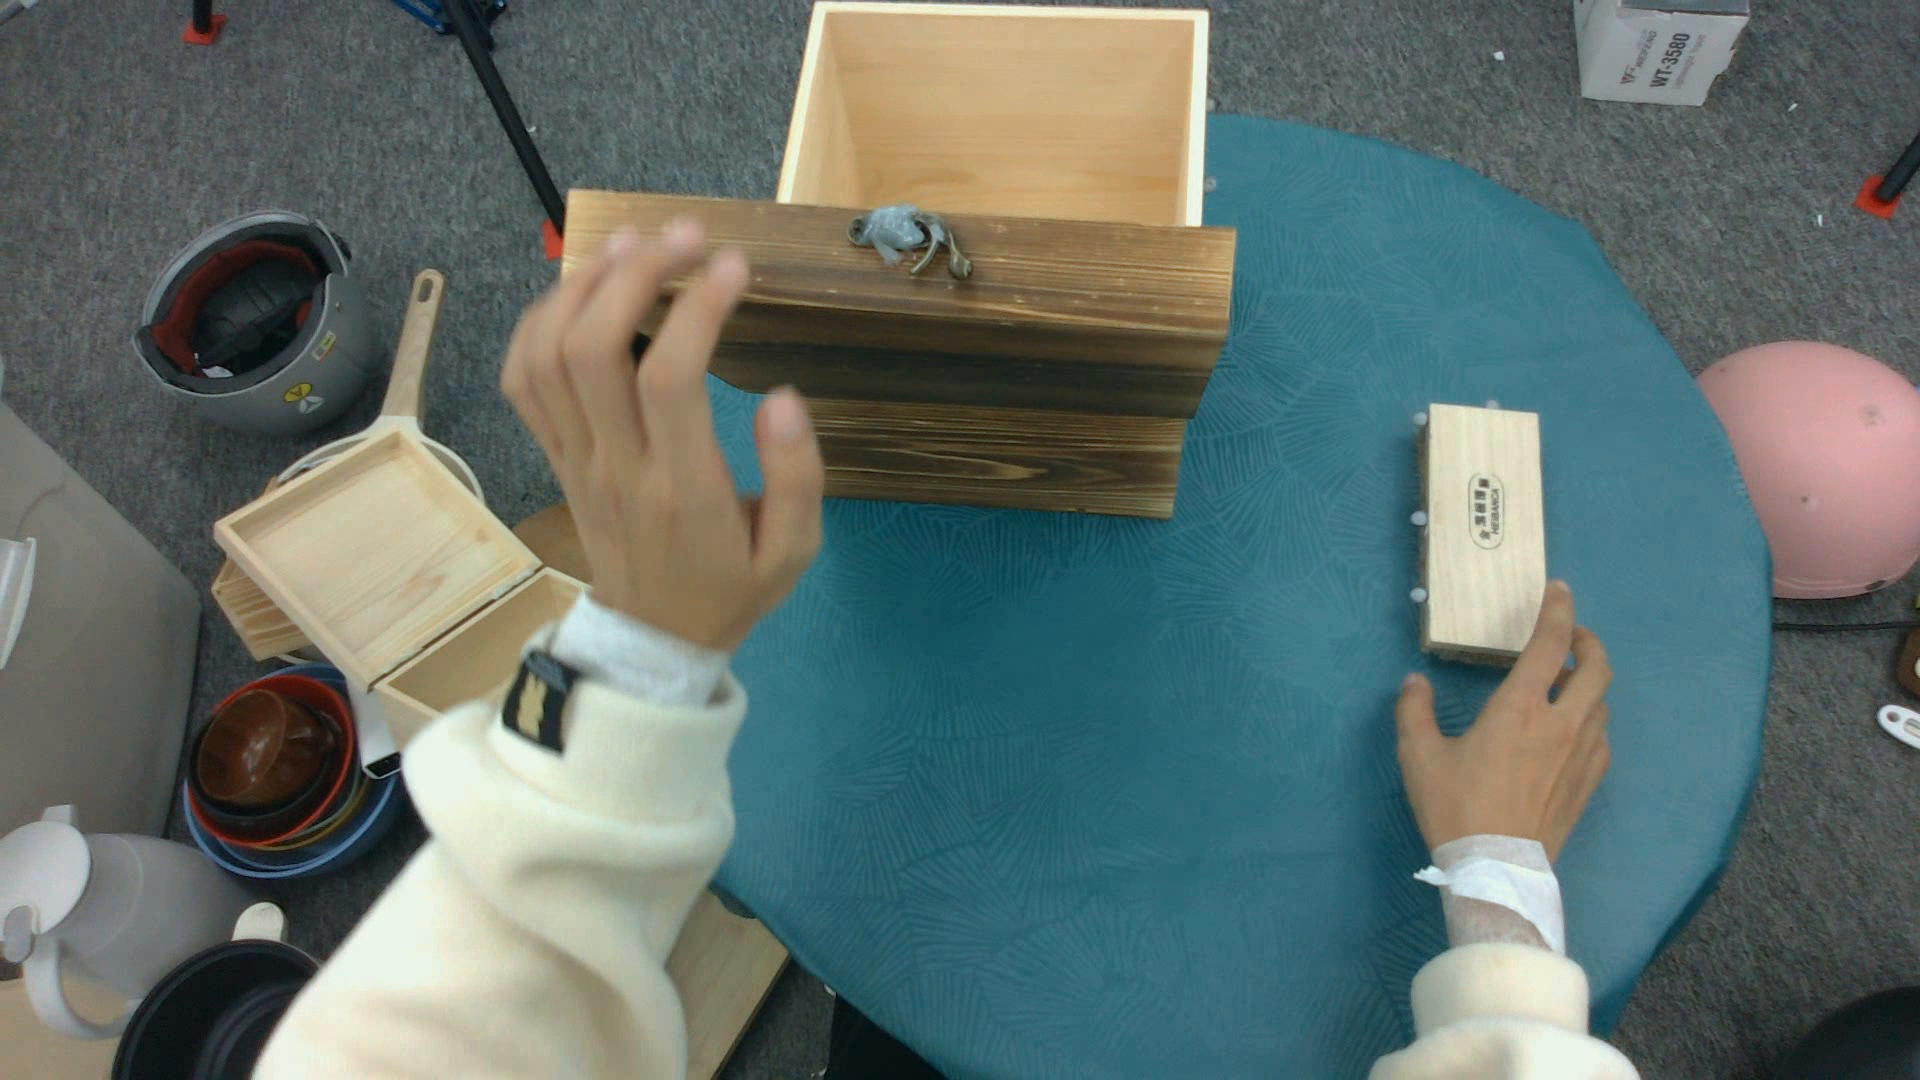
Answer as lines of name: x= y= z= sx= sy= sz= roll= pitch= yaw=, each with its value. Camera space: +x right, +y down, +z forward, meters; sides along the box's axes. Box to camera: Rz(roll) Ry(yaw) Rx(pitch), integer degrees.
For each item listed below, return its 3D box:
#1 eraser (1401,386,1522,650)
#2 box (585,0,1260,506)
eraser: x=0.262 y=-0.012 z=0.722 sx=0.057 sy=0.029 sz=0.140 roll=8 pitch=65 yaw=5
box: x=0.004 y=-0.149 z=0.622 sx=0.208 sy=0.374 sz=0.323 roll=3 pitch=64 yaw=5
